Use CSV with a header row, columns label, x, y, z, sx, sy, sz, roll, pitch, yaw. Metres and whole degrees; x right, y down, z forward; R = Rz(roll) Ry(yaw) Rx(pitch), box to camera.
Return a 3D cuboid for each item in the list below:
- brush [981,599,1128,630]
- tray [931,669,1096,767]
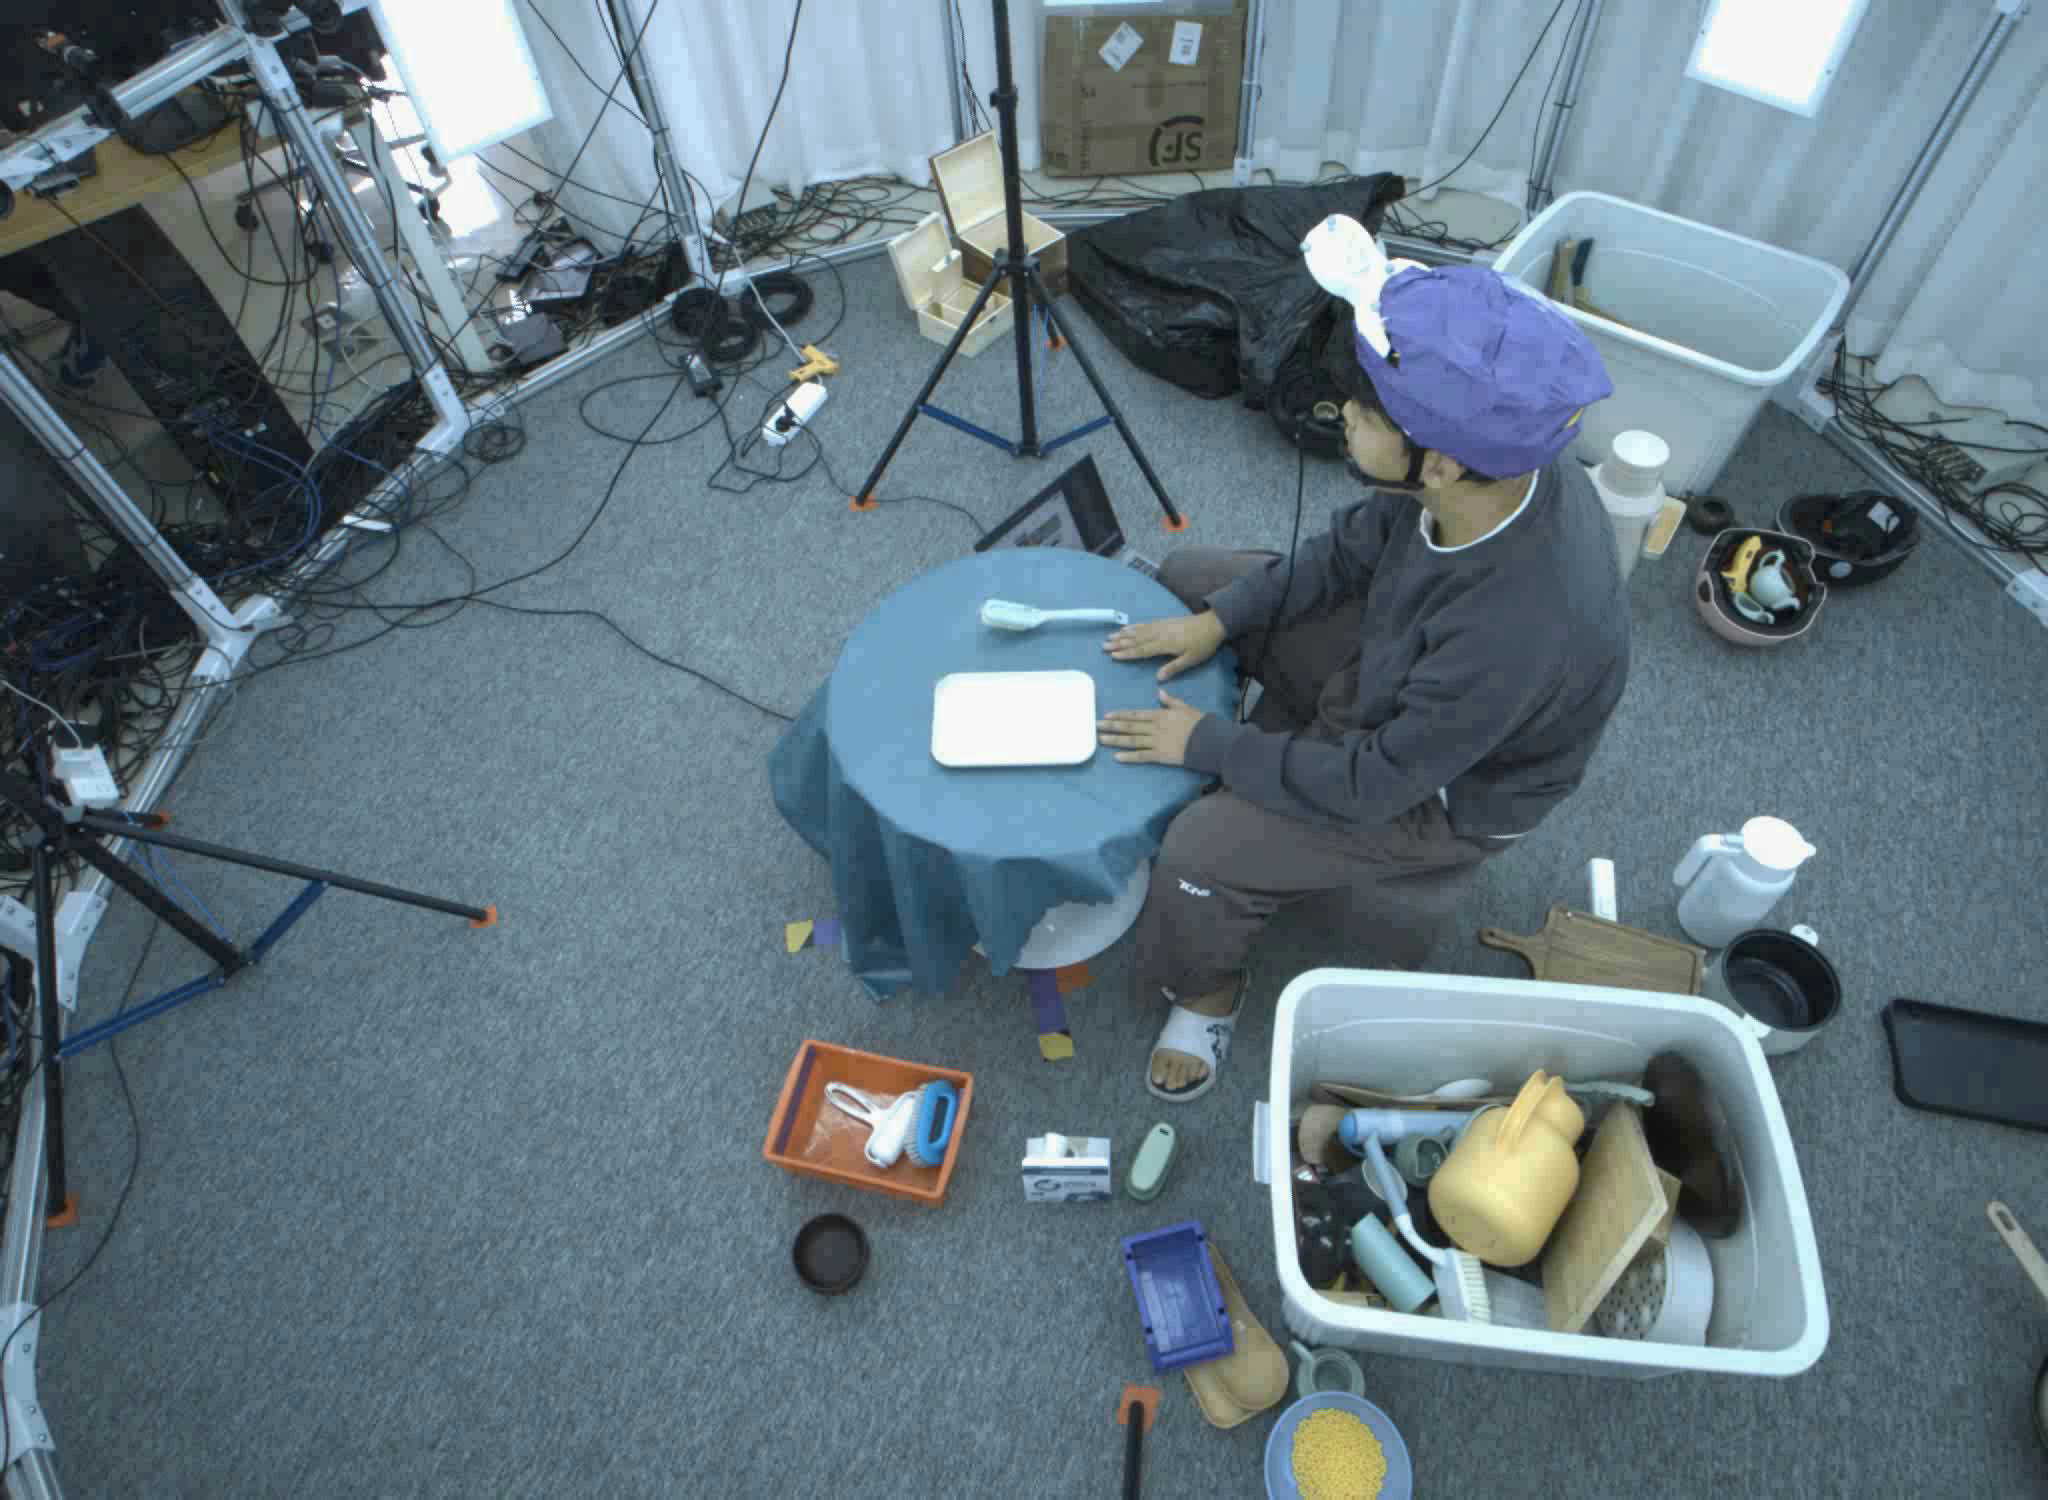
label,x,y,z,sx,sy,sz,roll,pitch,yaw
brush,0.047,-0.208,1.914,0.230,0.050,0.037,0,67,-8
tray,-0.016,-0.047,1.810,0.240,0.017,0.169,-1,56,1
